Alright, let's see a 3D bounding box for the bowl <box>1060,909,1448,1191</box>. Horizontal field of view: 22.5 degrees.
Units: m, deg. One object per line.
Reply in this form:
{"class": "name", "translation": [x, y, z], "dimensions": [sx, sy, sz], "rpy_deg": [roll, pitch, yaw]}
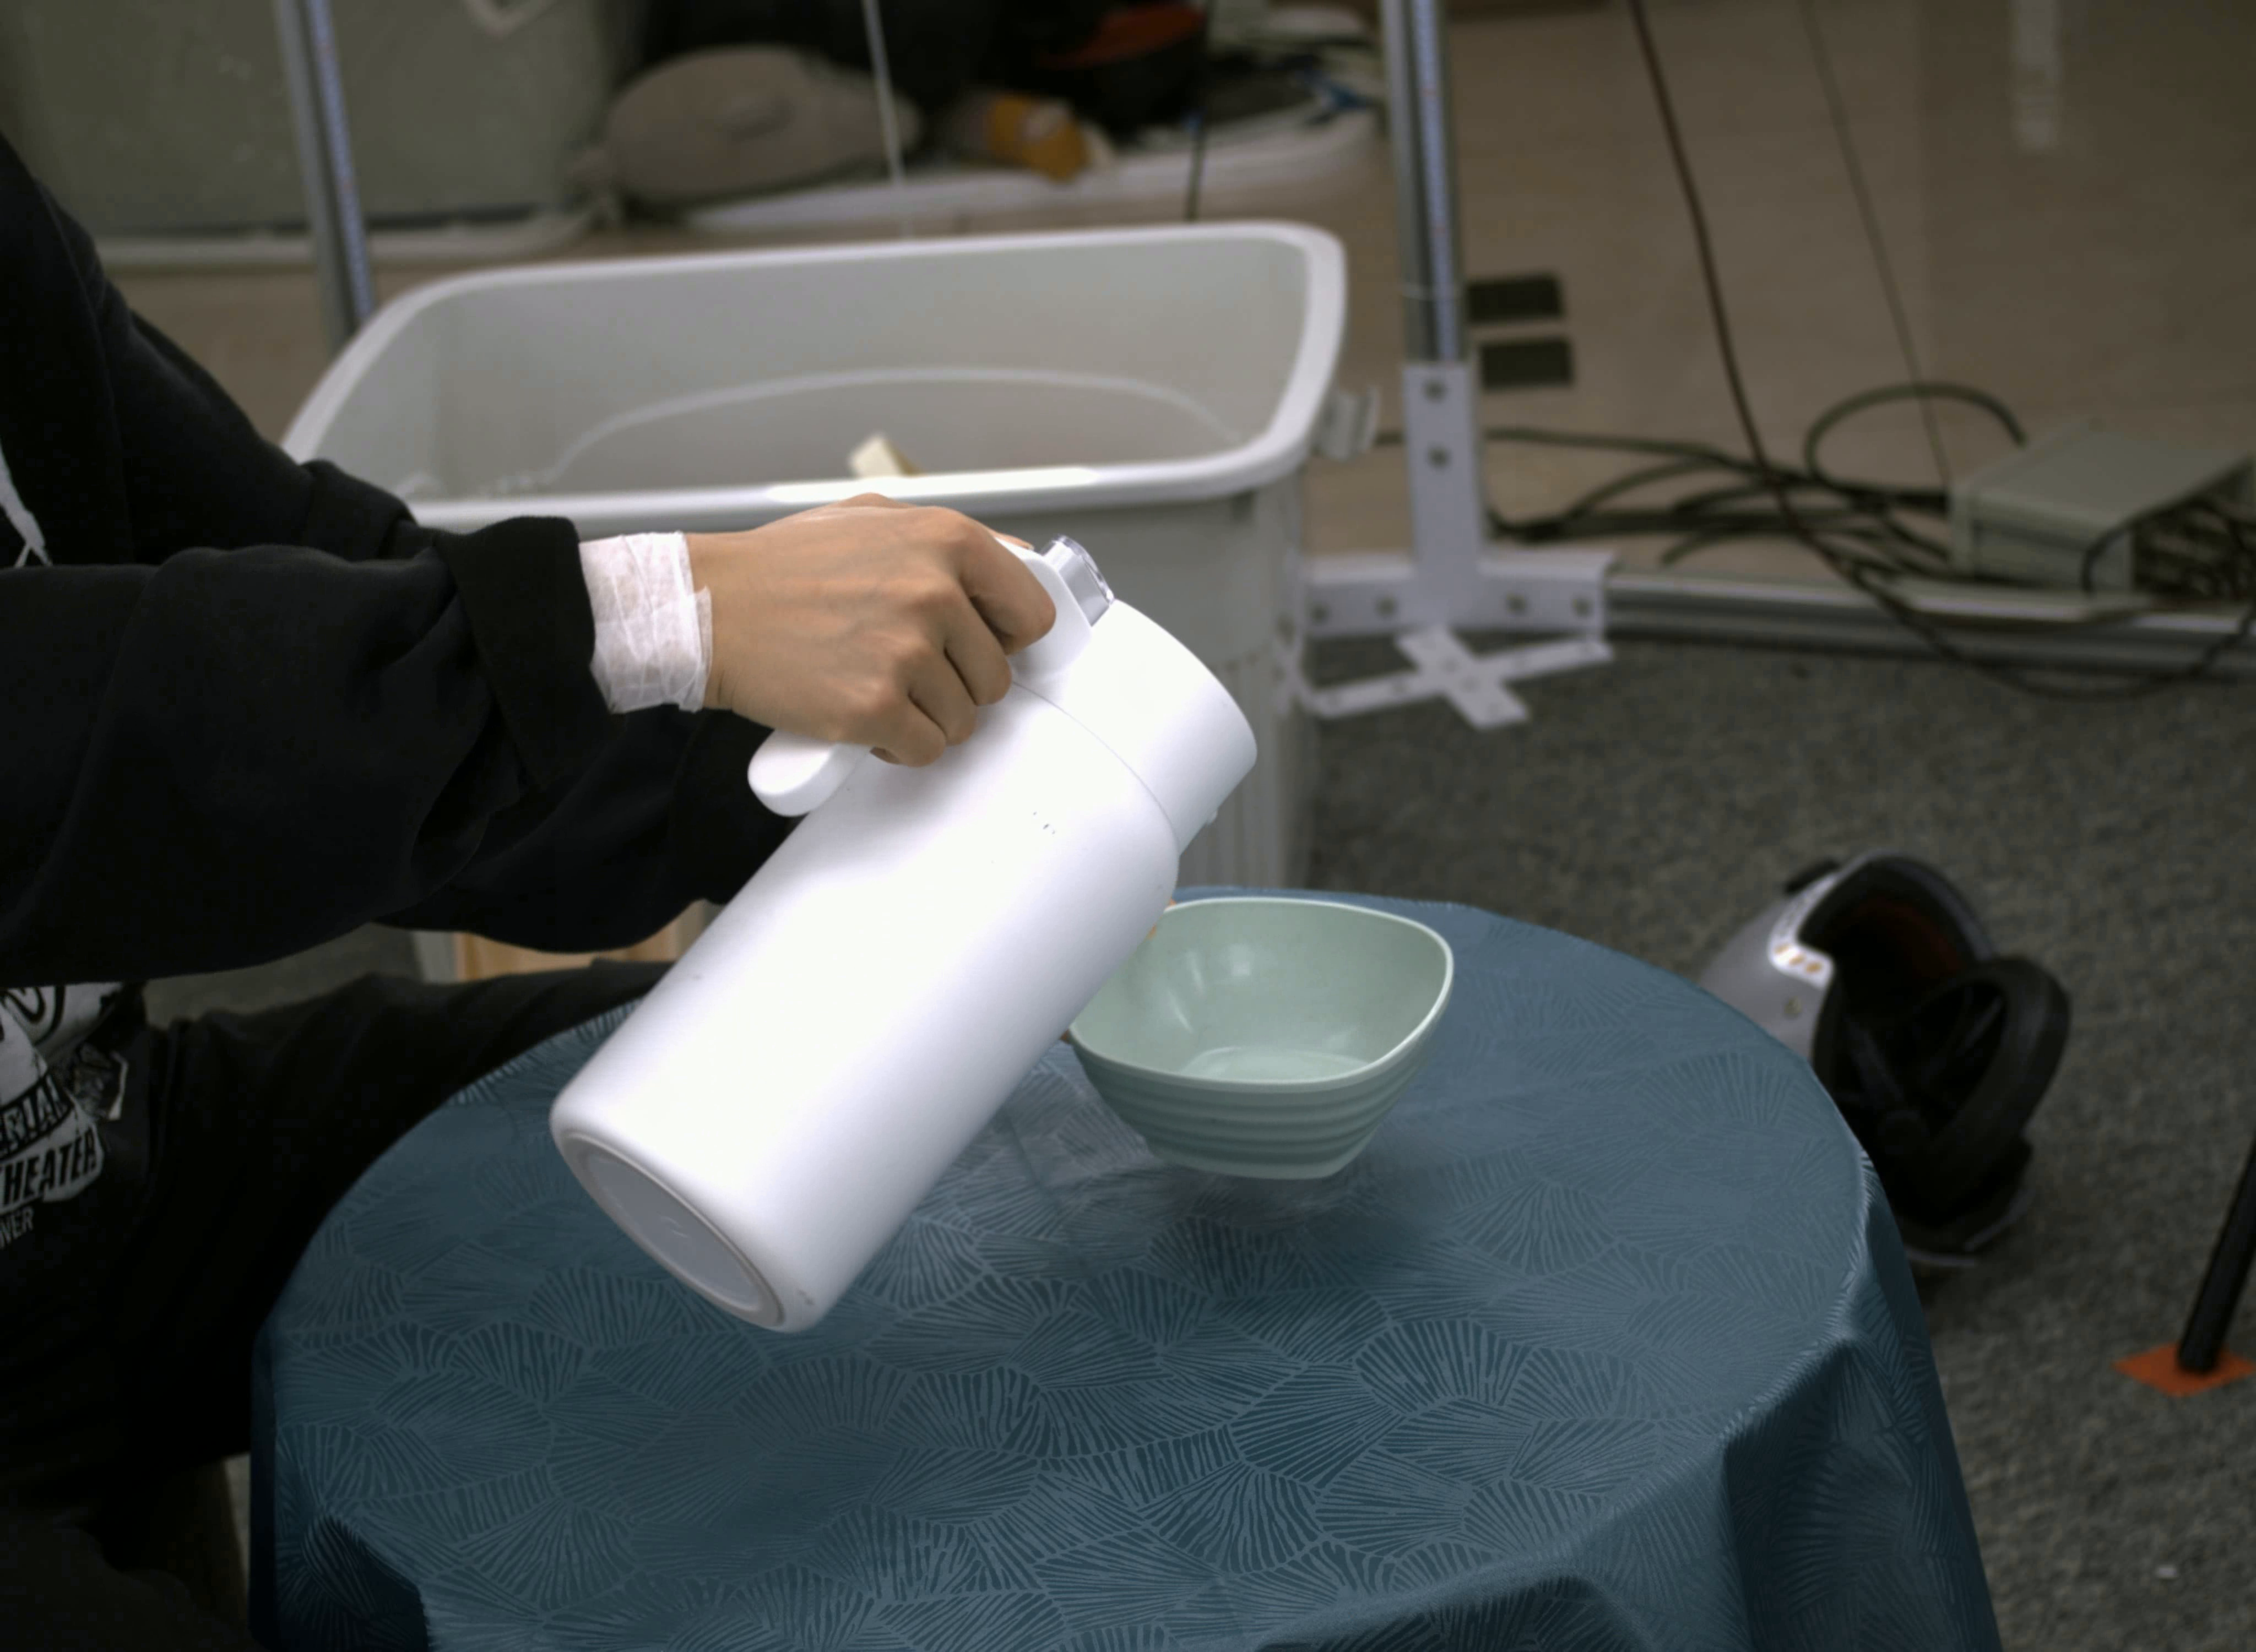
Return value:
{"class": "bowl", "translation": [0.049, 0.089, 2.111], "dimensions": [0.151, 0.059, 0.149], "rpy_deg": [-4, 28, 2]}

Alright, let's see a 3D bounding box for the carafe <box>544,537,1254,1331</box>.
{"class": "carafe", "translation": [-0.081, 0.032, 1.951], "dimensions": [0.122, 0.176, 0.267], "rpy_deg": [28, 67, 40]}
